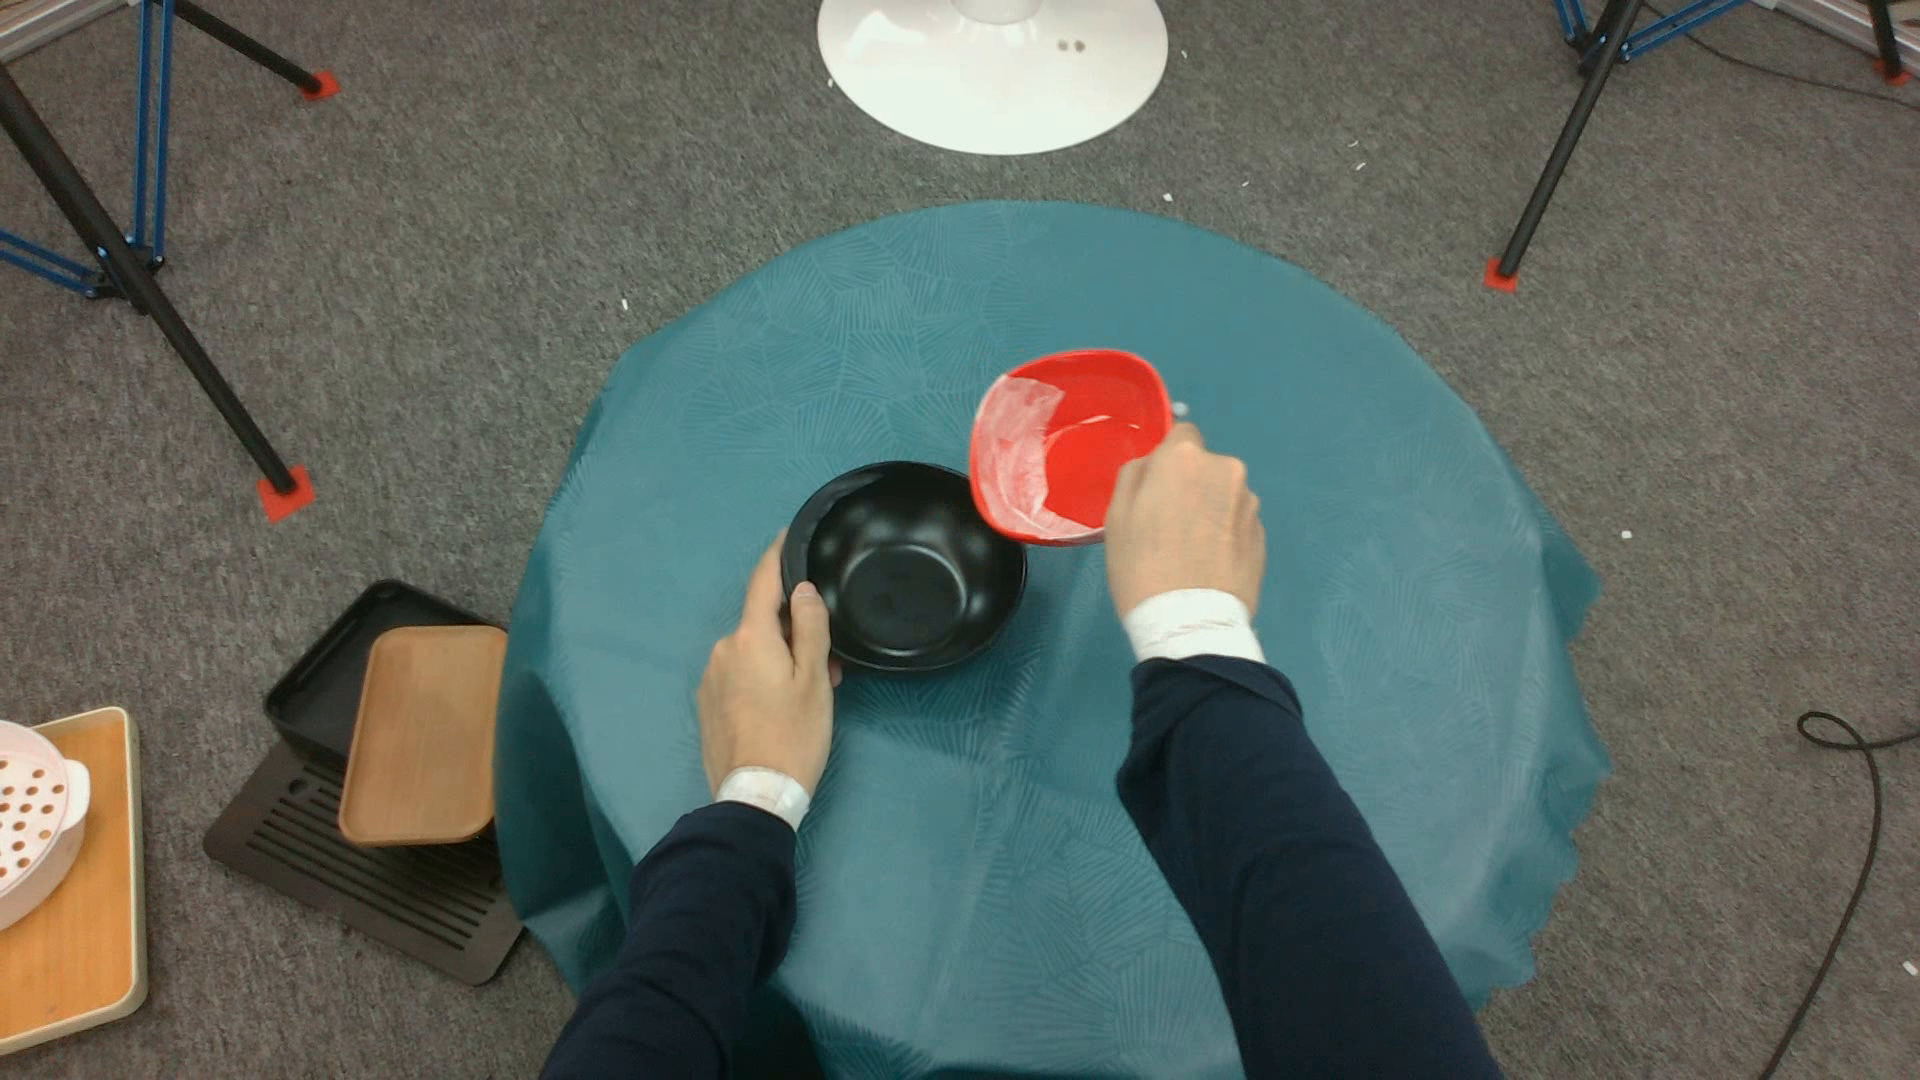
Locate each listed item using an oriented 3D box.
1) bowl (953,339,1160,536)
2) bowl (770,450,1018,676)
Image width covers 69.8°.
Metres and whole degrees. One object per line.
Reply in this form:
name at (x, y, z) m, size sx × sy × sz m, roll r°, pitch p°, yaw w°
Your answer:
bowl at (0.056, -0.046, 0.728) m, size 0.118 × 0.051 × 0.119 m, roll -9°, pitch 62°, yaw 18°
bowl at (-0.038, 0.020, 0.787) m, size 0.140 × 0.049 × 0.140 m, roll 1°, pitch 61°, yaw -2°
